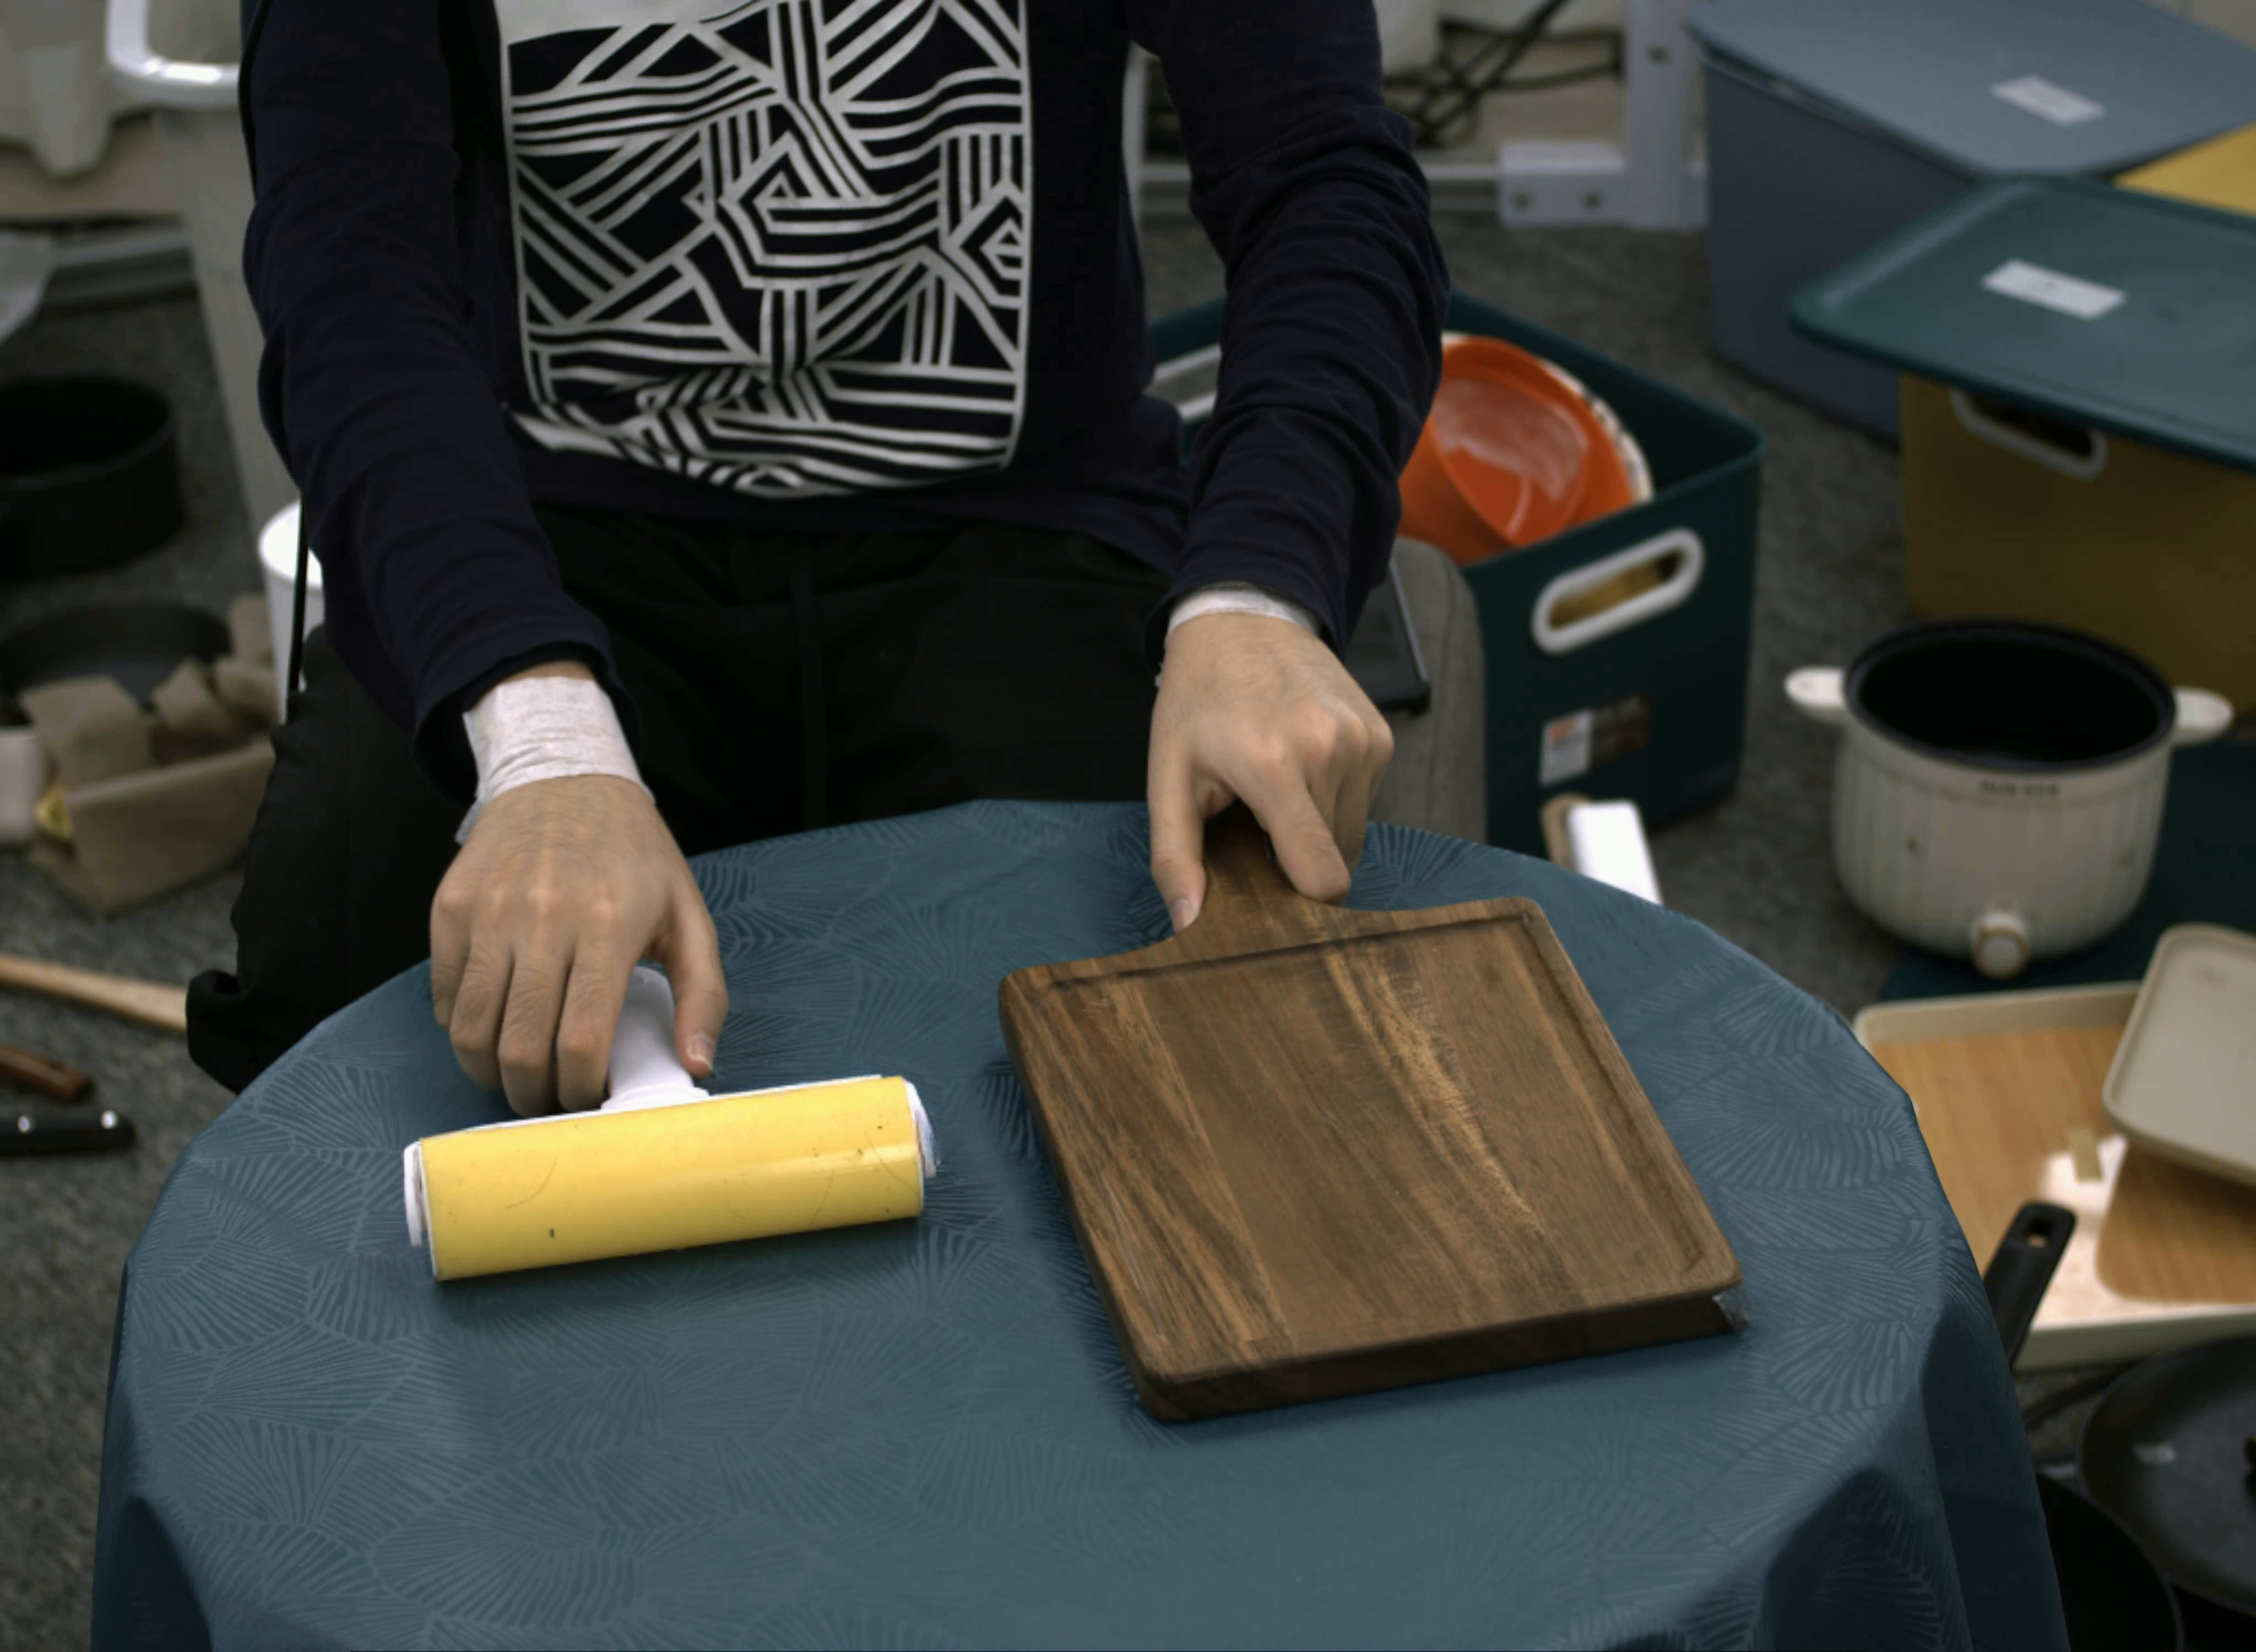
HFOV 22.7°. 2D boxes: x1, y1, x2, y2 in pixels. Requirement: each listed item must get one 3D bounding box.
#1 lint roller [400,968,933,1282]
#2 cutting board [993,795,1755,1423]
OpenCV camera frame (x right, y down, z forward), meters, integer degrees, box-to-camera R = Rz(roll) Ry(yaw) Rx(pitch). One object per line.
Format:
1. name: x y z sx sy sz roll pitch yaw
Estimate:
1. lint roller: -0.165 0.083 1.898 0.174 0.051 0.194 -7 30 -10
2. cutting board: 0.065 0.081 1.897 0.201 0.023 0.356 -8 30 -10
